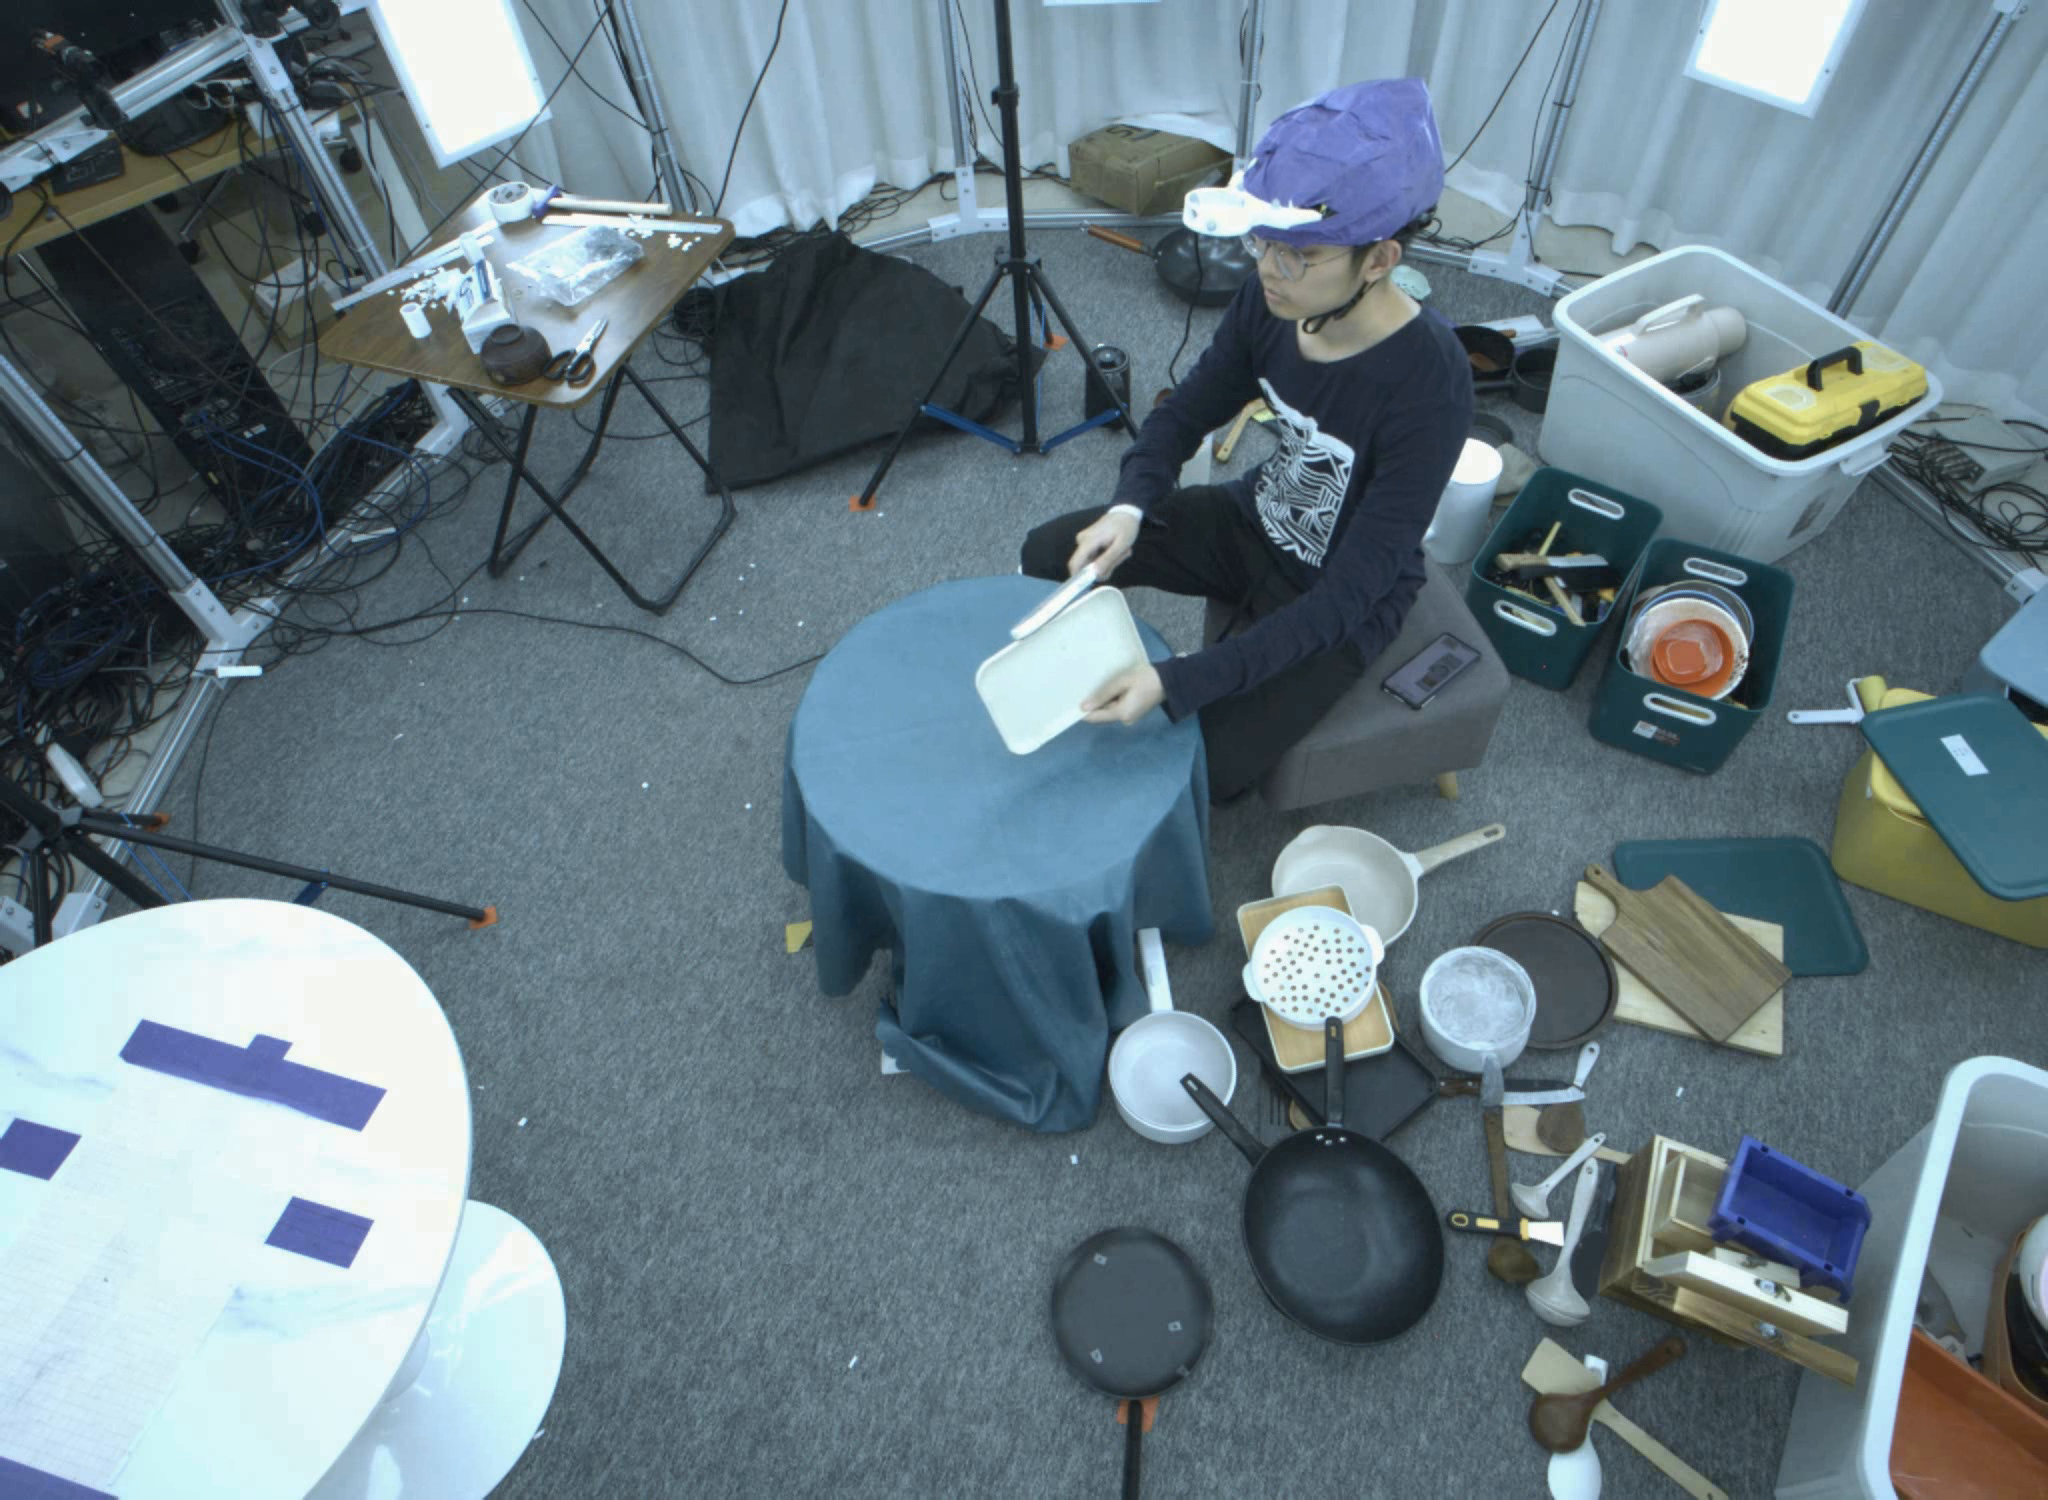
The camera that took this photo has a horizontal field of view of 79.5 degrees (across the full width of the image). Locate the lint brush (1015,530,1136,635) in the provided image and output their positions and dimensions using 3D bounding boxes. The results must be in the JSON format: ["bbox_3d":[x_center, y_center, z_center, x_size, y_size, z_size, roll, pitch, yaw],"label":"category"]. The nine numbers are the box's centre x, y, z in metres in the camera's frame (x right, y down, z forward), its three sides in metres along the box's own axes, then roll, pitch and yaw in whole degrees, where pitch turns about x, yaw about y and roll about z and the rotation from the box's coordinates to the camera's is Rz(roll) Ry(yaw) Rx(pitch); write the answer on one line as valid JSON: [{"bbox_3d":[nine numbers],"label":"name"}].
[{"bbox_3d":[0.079,-0.240,1.719,0.021,0.059,0.311,52,46,-8],"label":"lint brush"}]

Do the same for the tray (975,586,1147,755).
[{"bbox_3d":[0.053,-0.109,1.697,0.240,0.174,0.017,-35,41,-9],"label":"tray"}]
